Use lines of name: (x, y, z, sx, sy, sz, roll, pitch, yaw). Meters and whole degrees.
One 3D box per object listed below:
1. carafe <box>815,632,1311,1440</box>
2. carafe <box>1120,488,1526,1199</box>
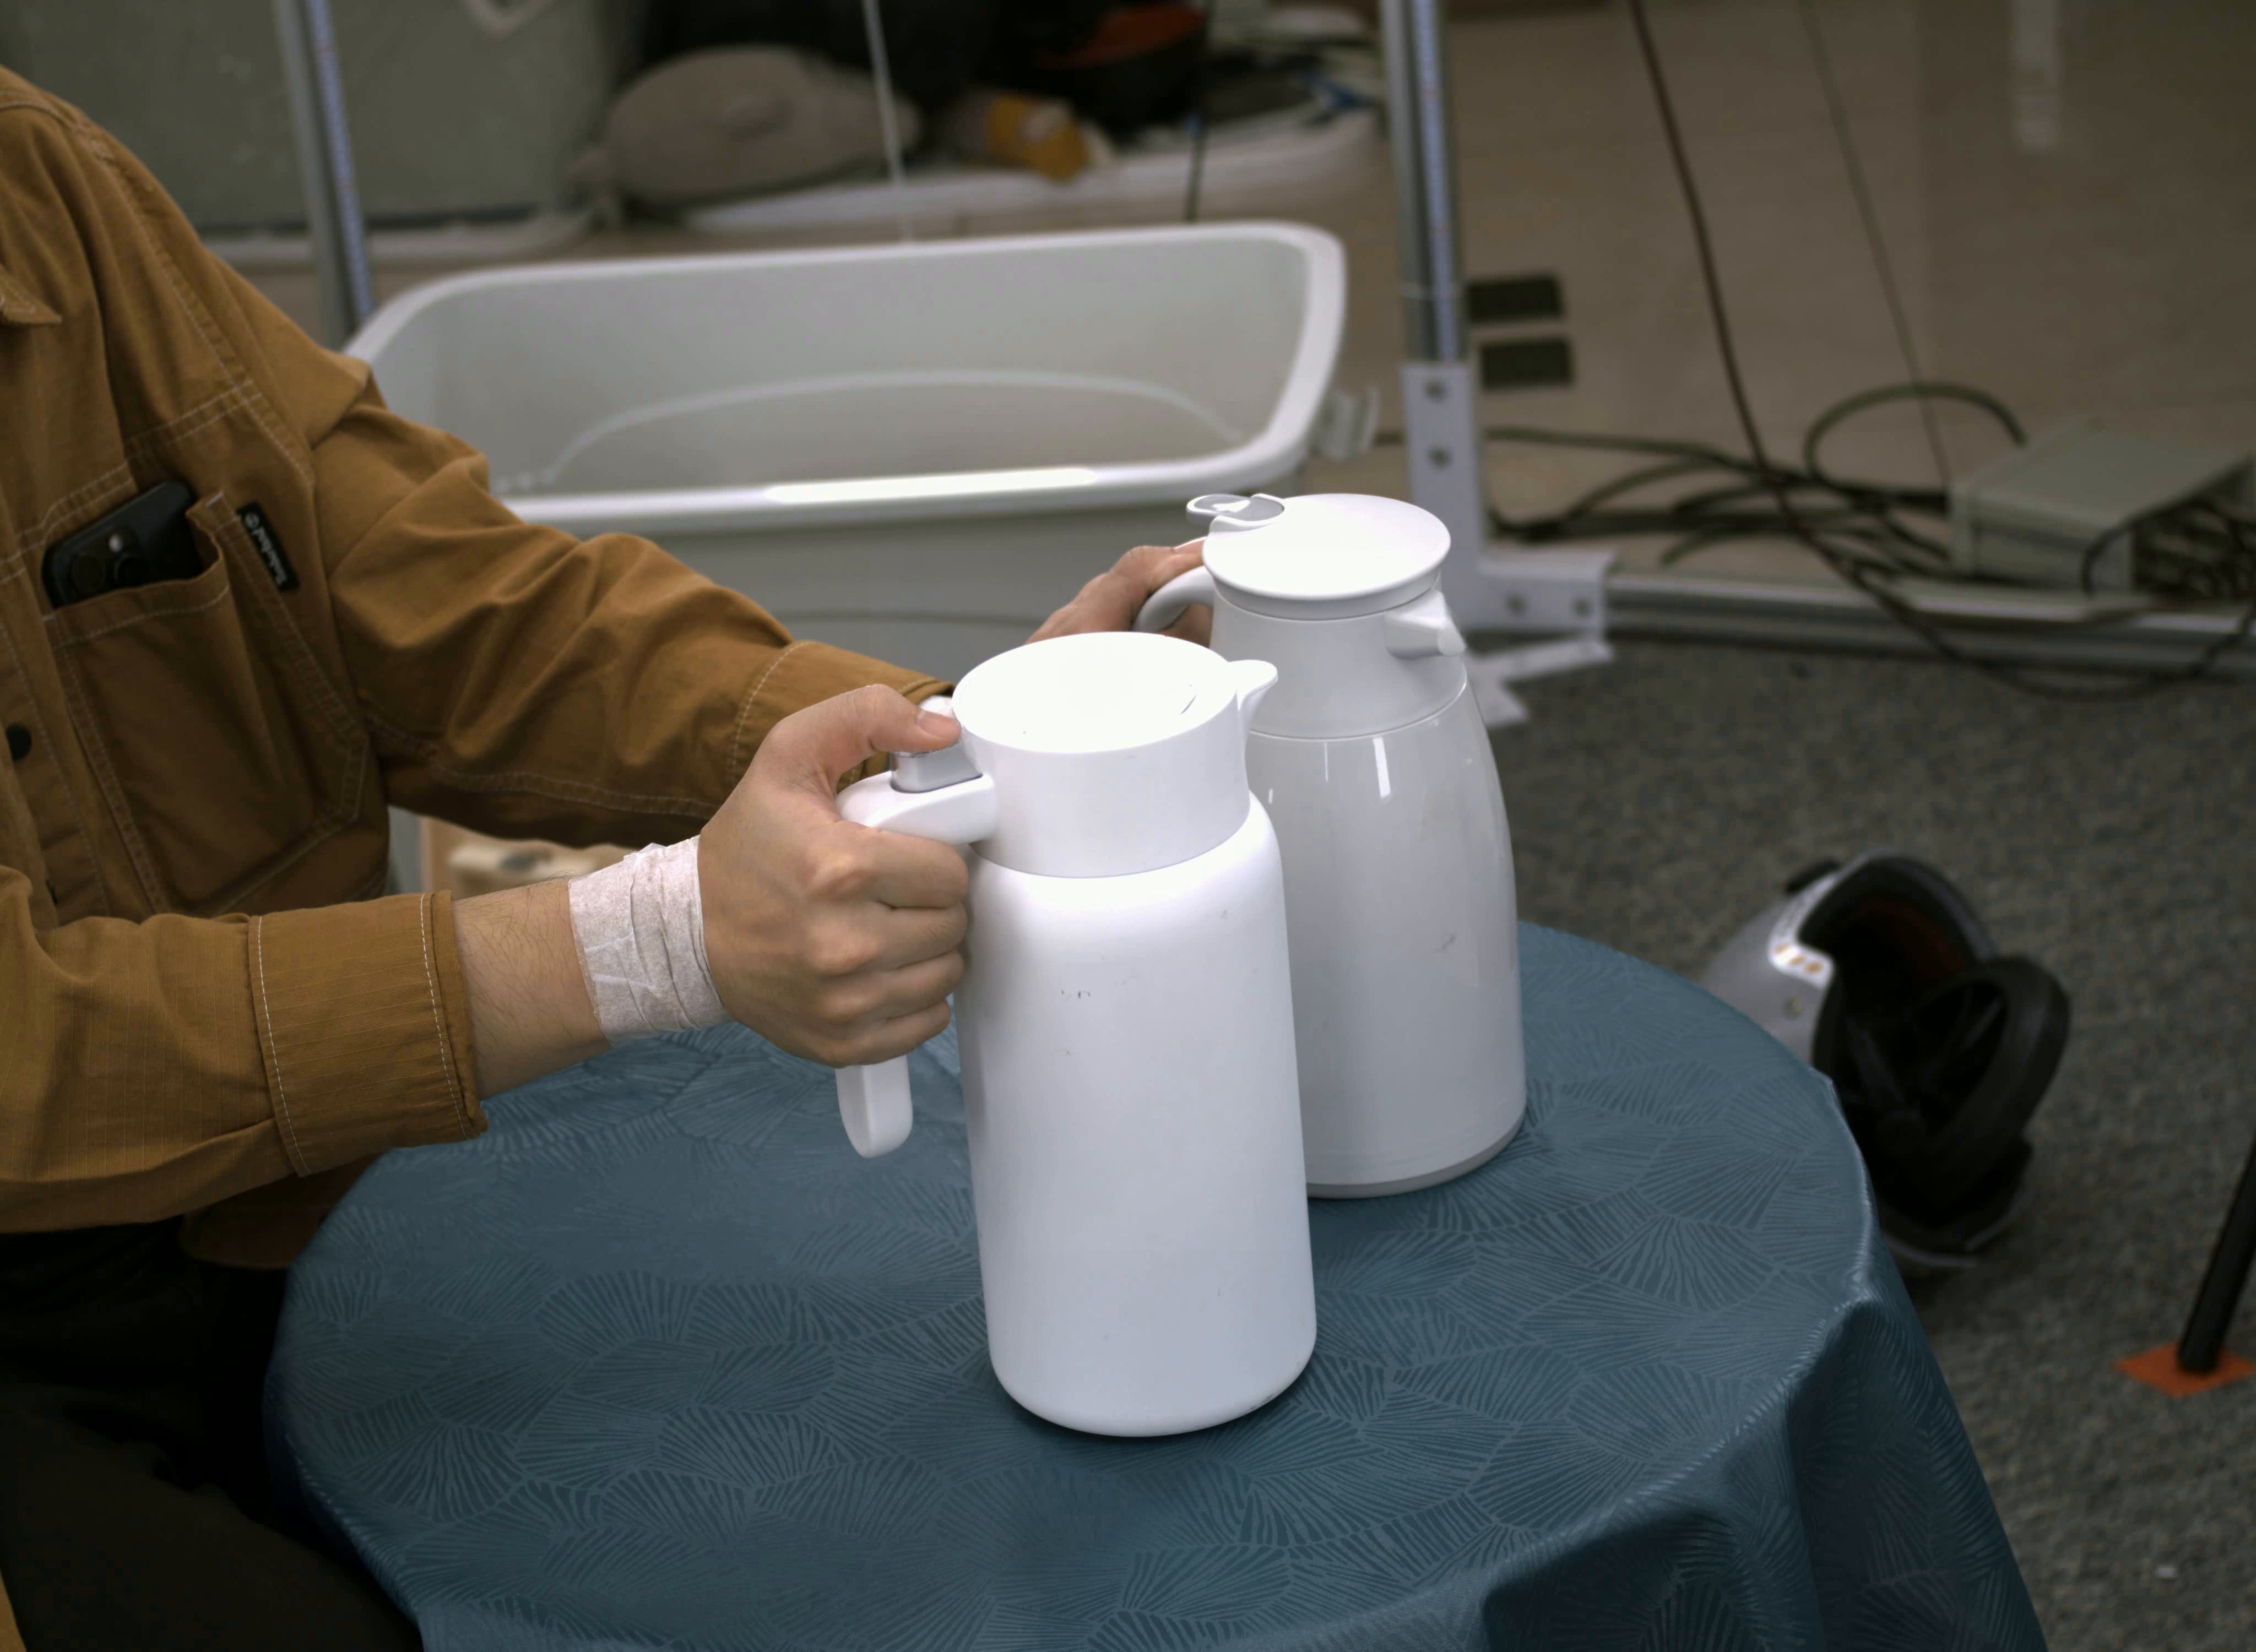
carafe: (-0.016, 0.078, 1.960, 0.172, 0.273, 0.122, -16, 30, -22)
carafe: (0.065, -0.004, 2.133, 0.166, 0.253, 0.131, 19, 35, 38)
